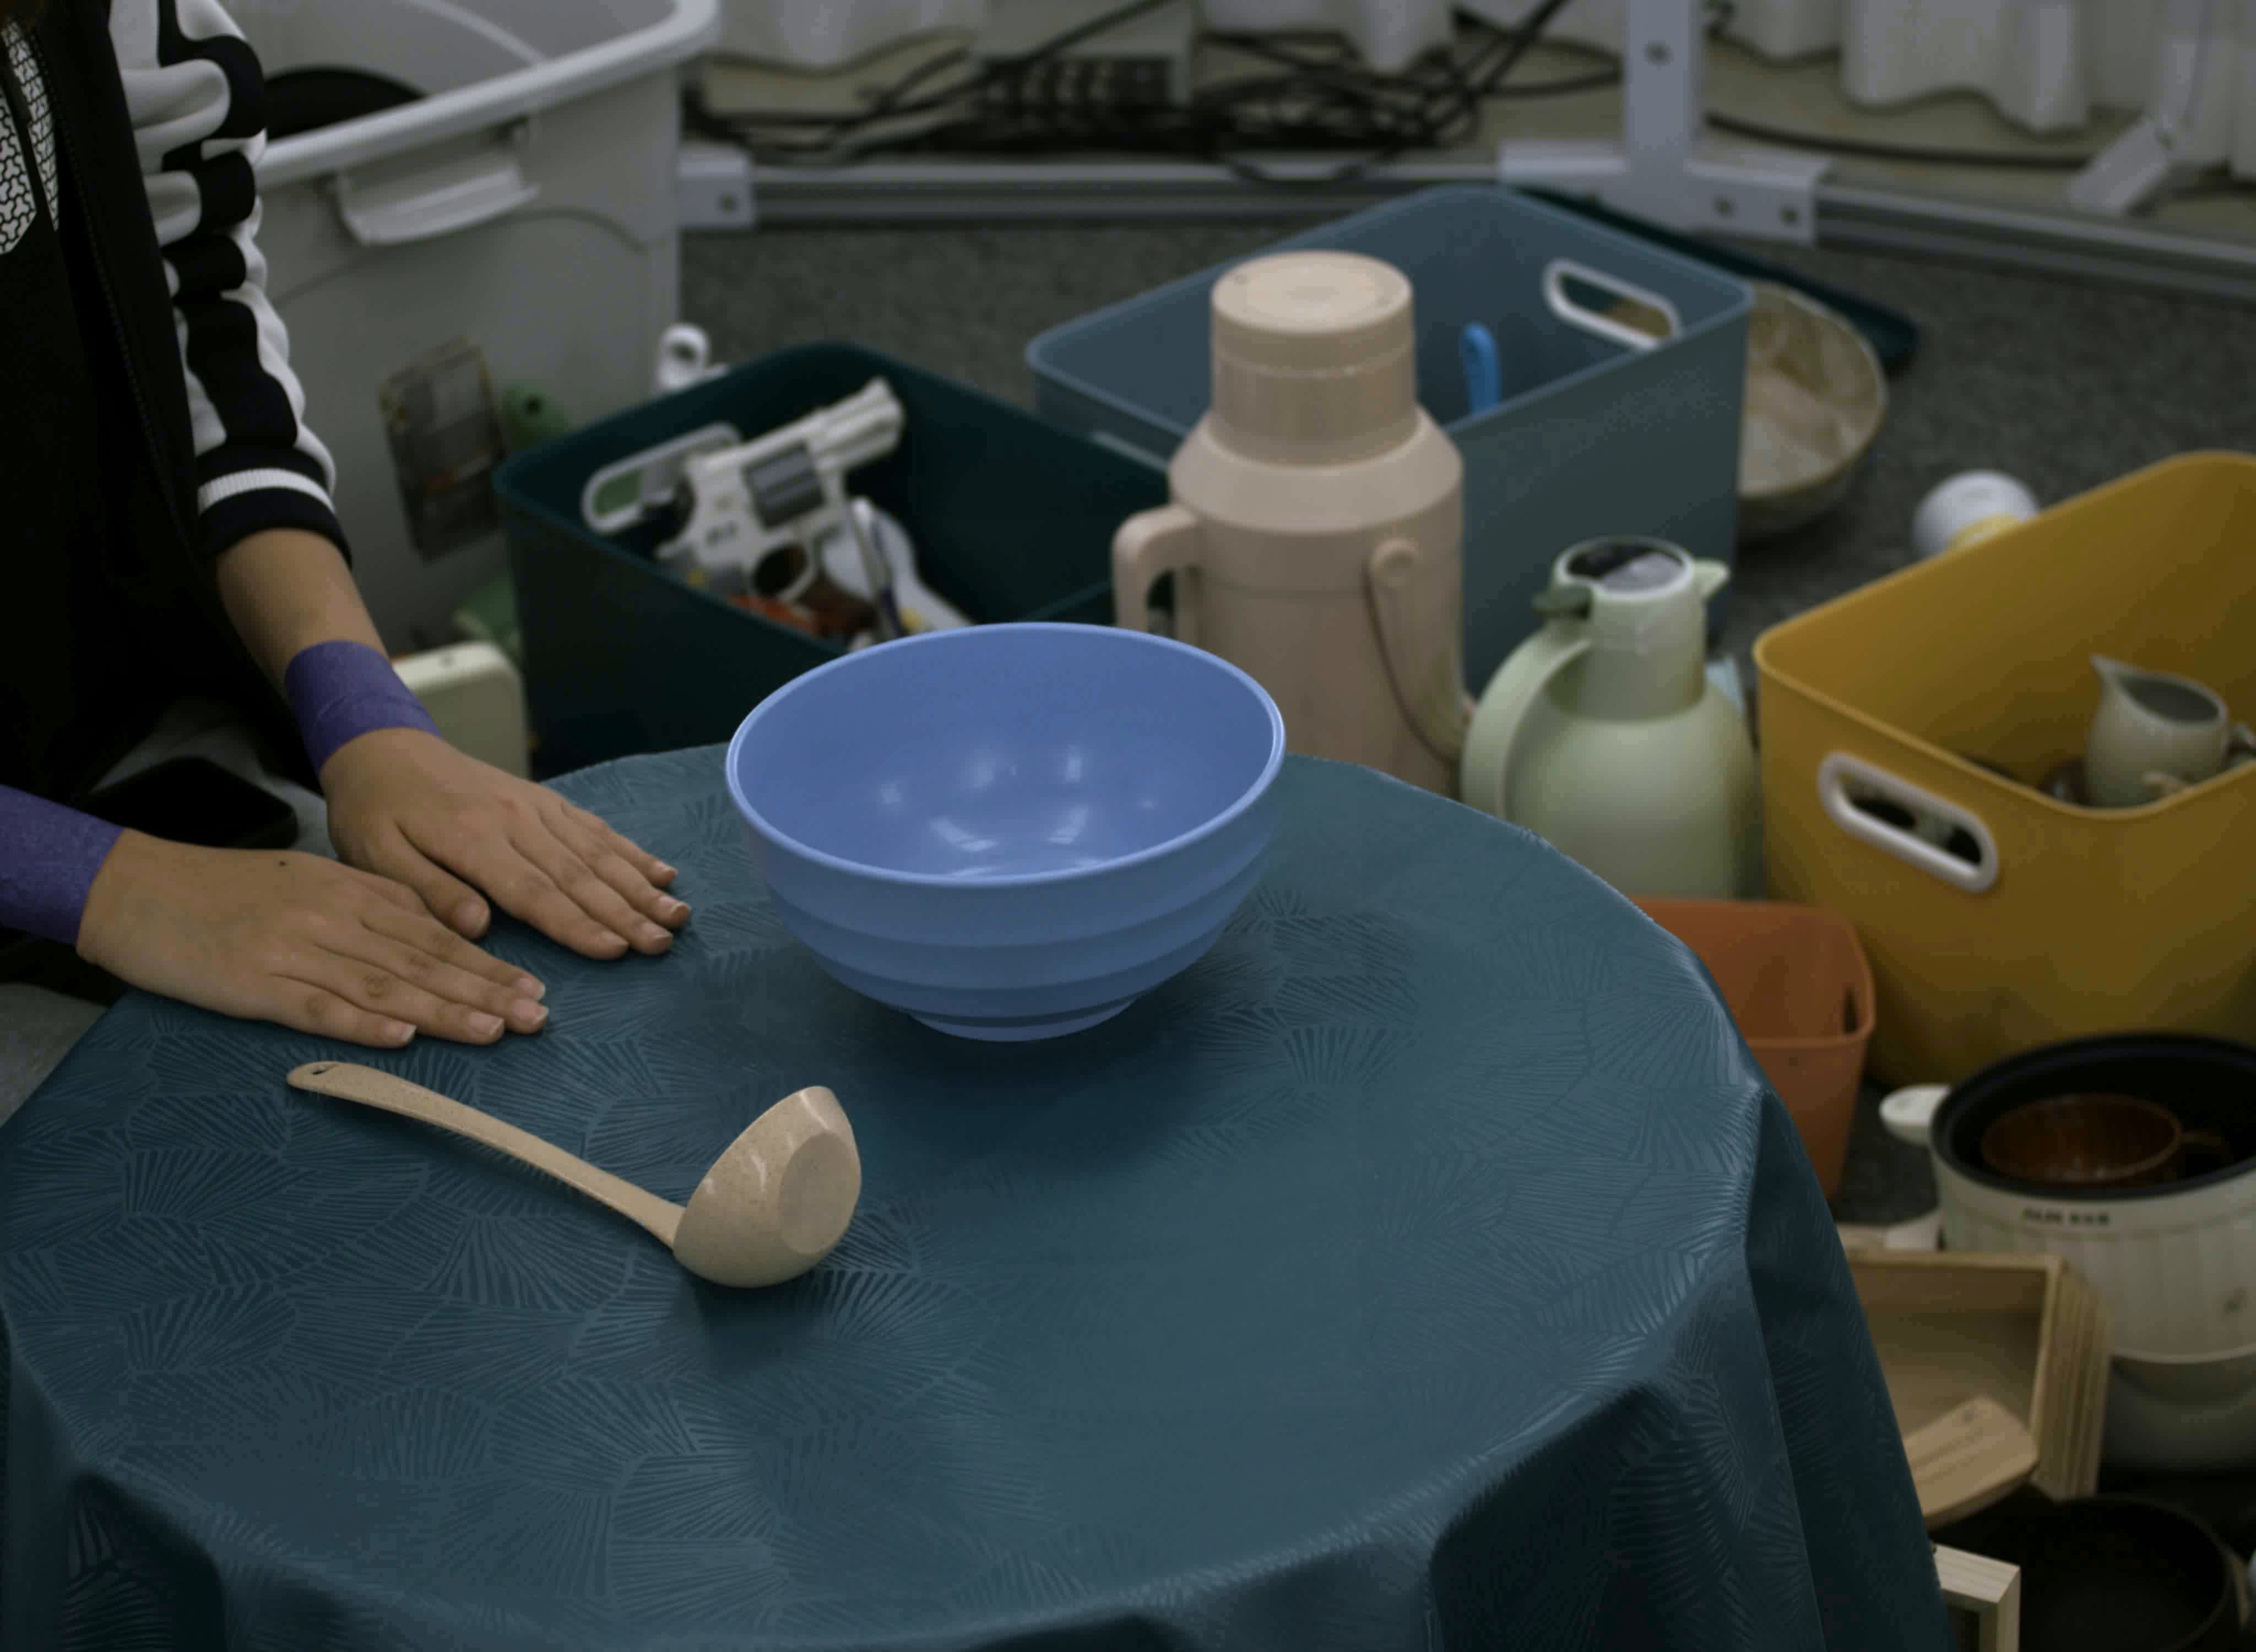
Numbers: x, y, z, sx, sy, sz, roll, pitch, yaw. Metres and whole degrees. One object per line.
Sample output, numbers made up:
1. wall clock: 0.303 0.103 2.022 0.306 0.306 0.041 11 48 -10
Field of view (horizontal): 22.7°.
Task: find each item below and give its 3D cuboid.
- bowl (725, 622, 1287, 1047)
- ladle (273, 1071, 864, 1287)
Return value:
1. bowl: -0.040 0.014 1.974 0.195 0.094 0.199 -2 28 1
2. ladle: -0.196 0.090 1.864 0.253 0.072 0.073 17 32 34
